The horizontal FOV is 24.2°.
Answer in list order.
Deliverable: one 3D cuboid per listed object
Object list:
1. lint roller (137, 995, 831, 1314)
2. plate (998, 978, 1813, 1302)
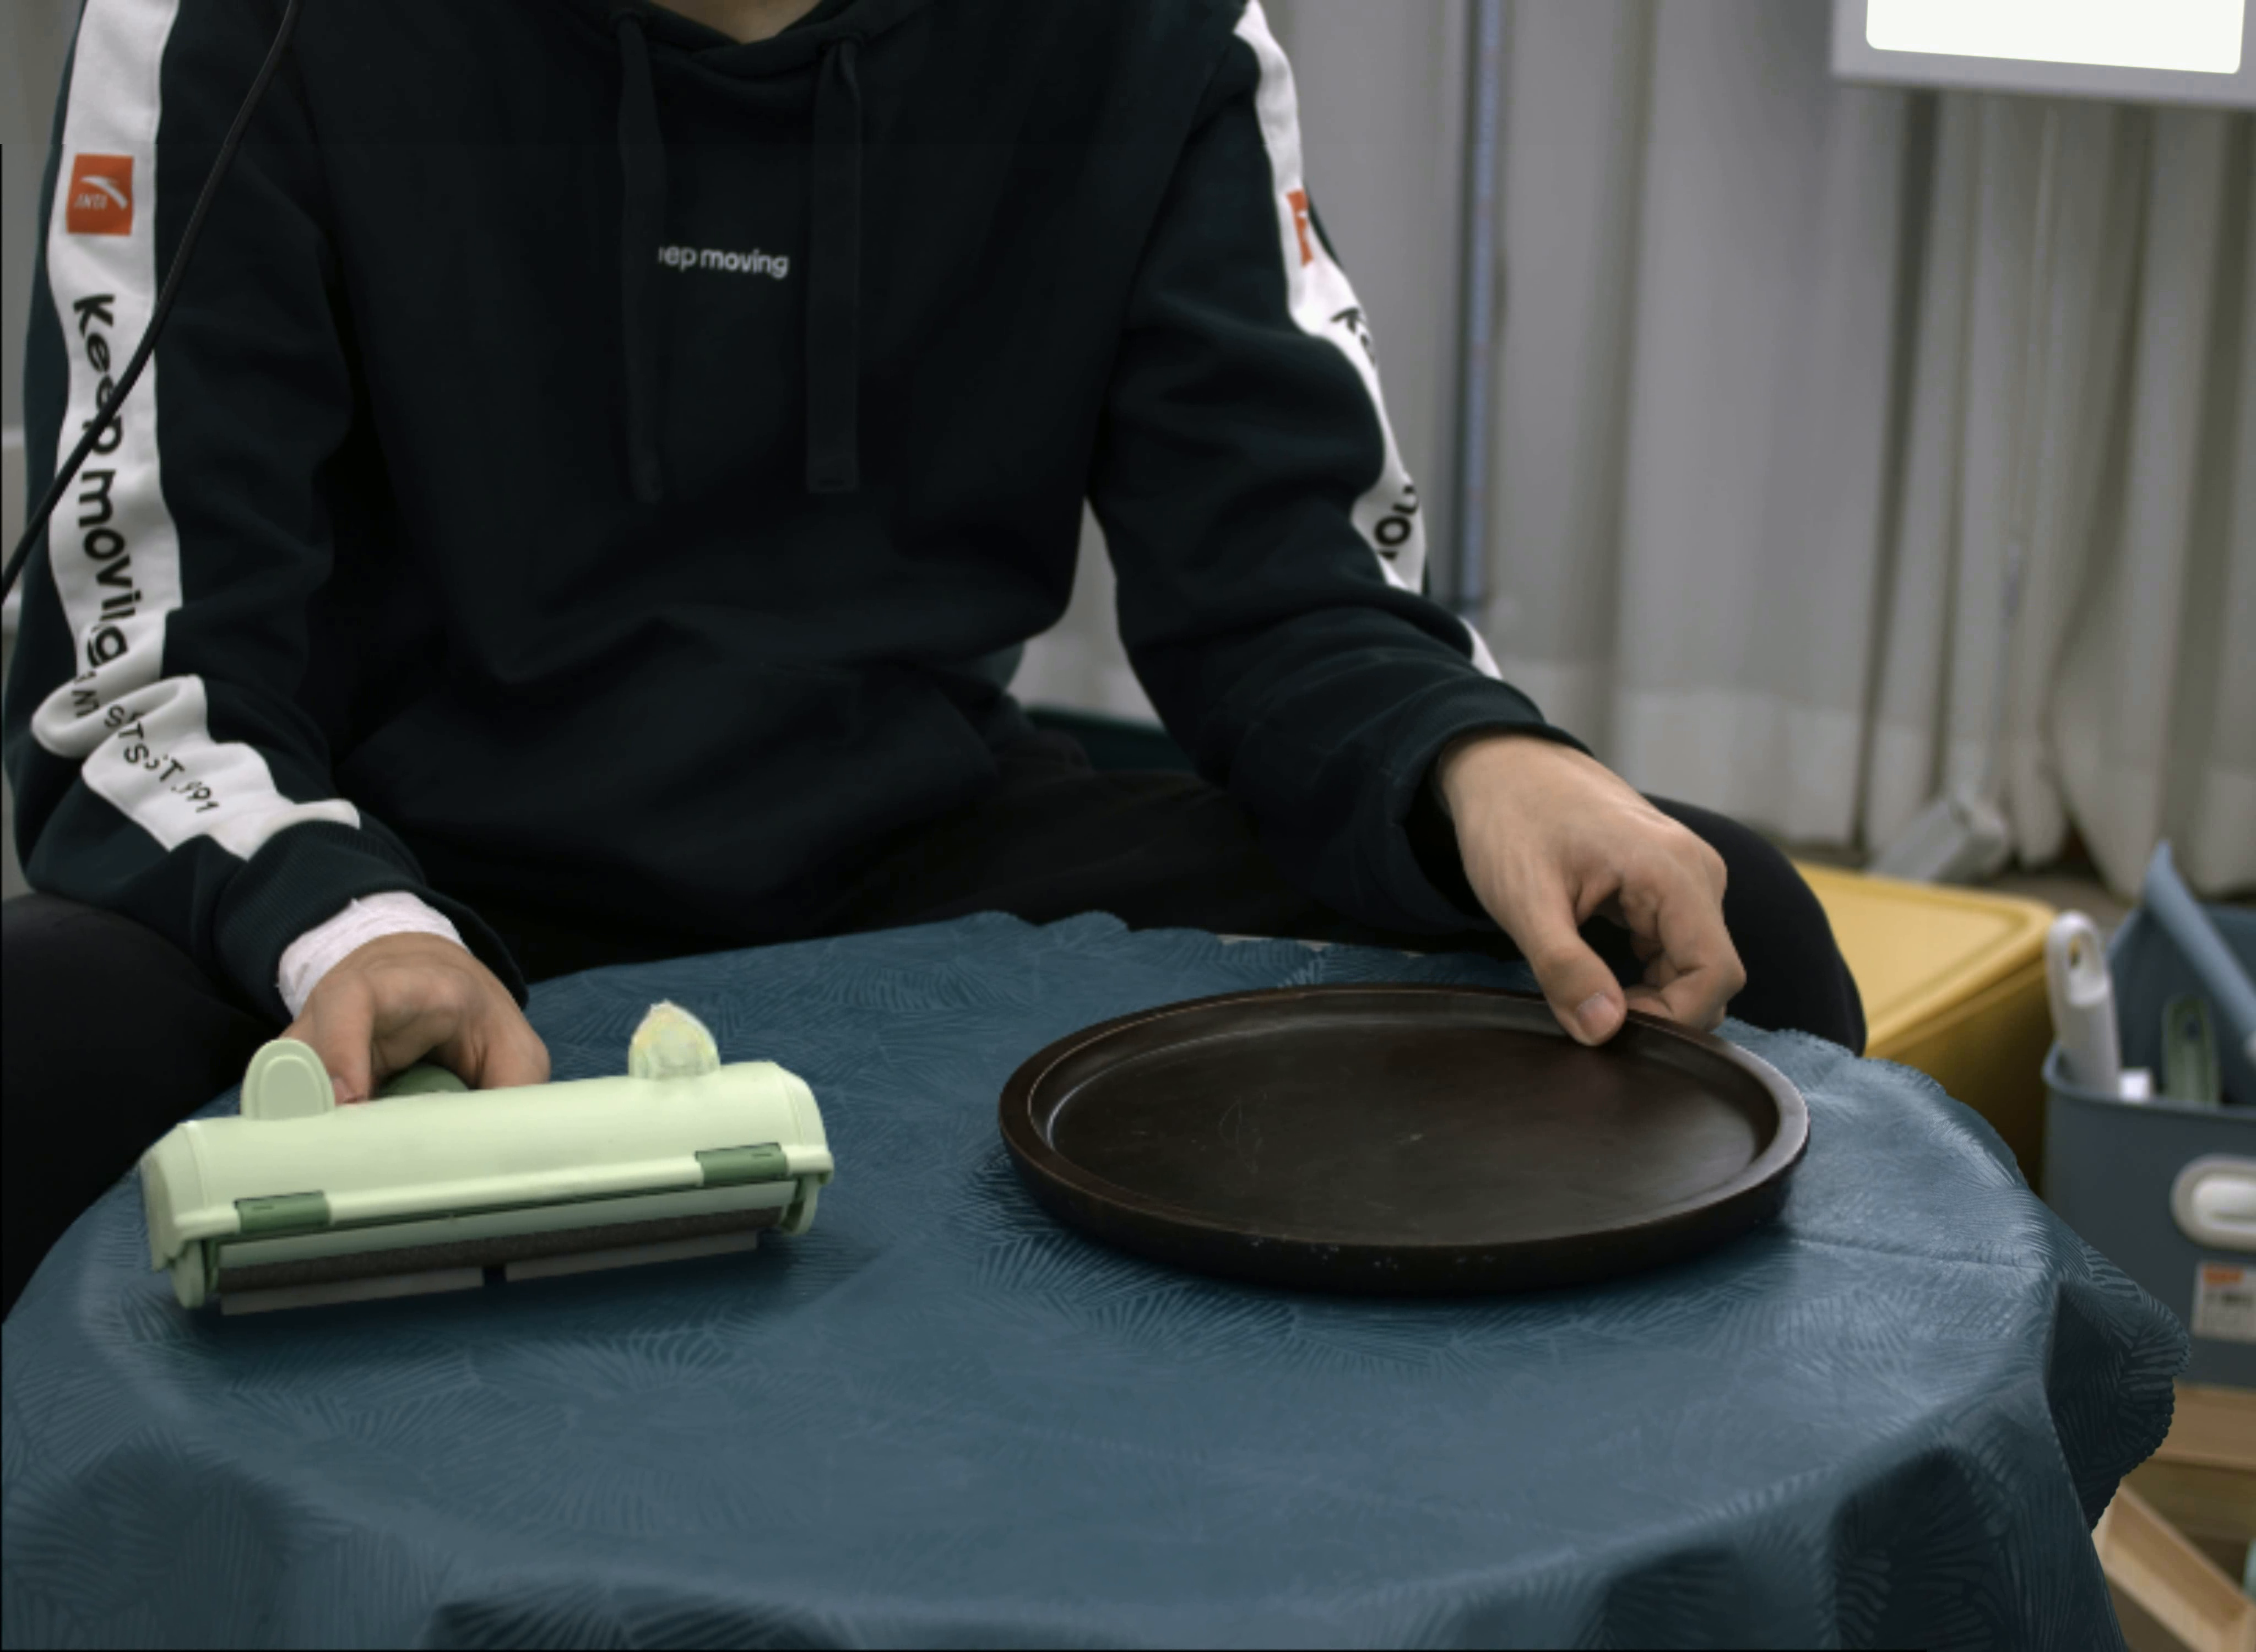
[{"bbox_3d":[-0.206,0.080,1.577,0.199,0.083,0.181,-5,20,-20],"label":"lint roller"},{"bbox_3d":[0.086,0.096,1.635,0.254,0.029,0.253,0,17,1],"label":"plate"}]
